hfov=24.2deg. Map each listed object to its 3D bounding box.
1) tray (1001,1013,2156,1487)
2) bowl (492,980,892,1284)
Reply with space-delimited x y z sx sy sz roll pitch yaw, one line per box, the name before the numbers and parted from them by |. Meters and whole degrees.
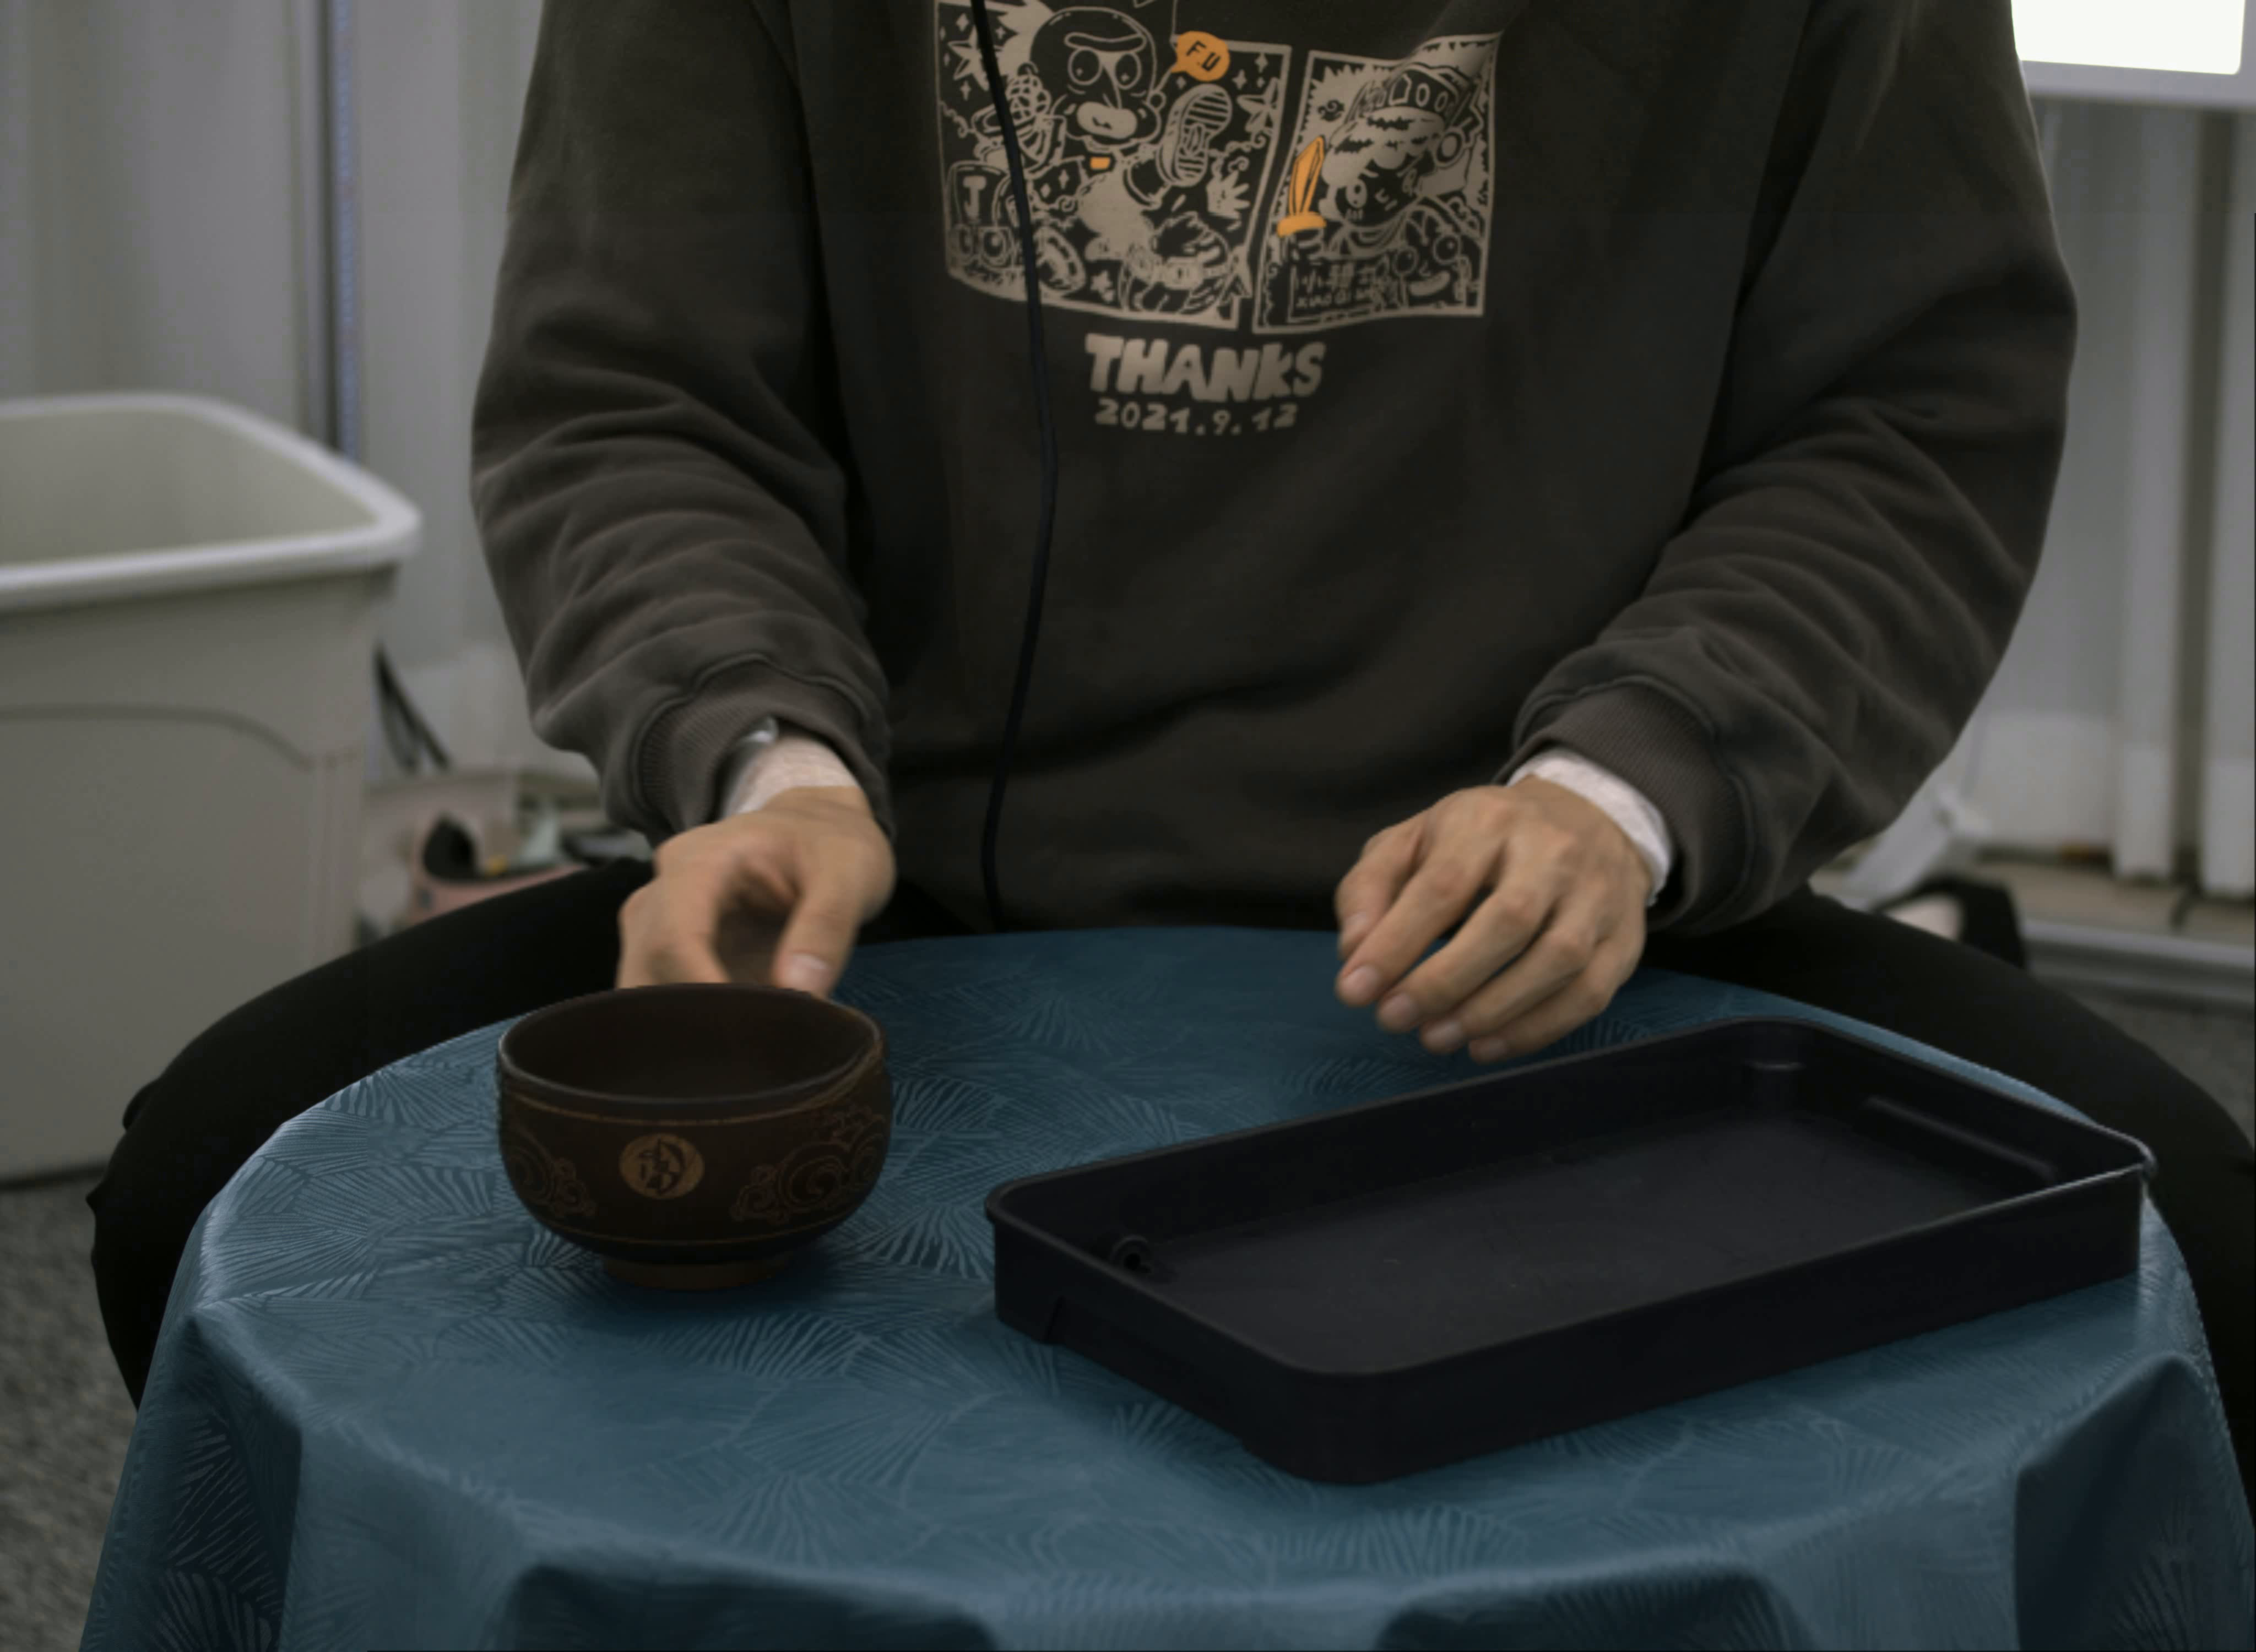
tray | 0.135 0.118 1.550 0.319 0.037 0.182 -12 19 -36
bowl | -0.128 0.094 1.558 0.117 0.070 0.117 0 14 1
